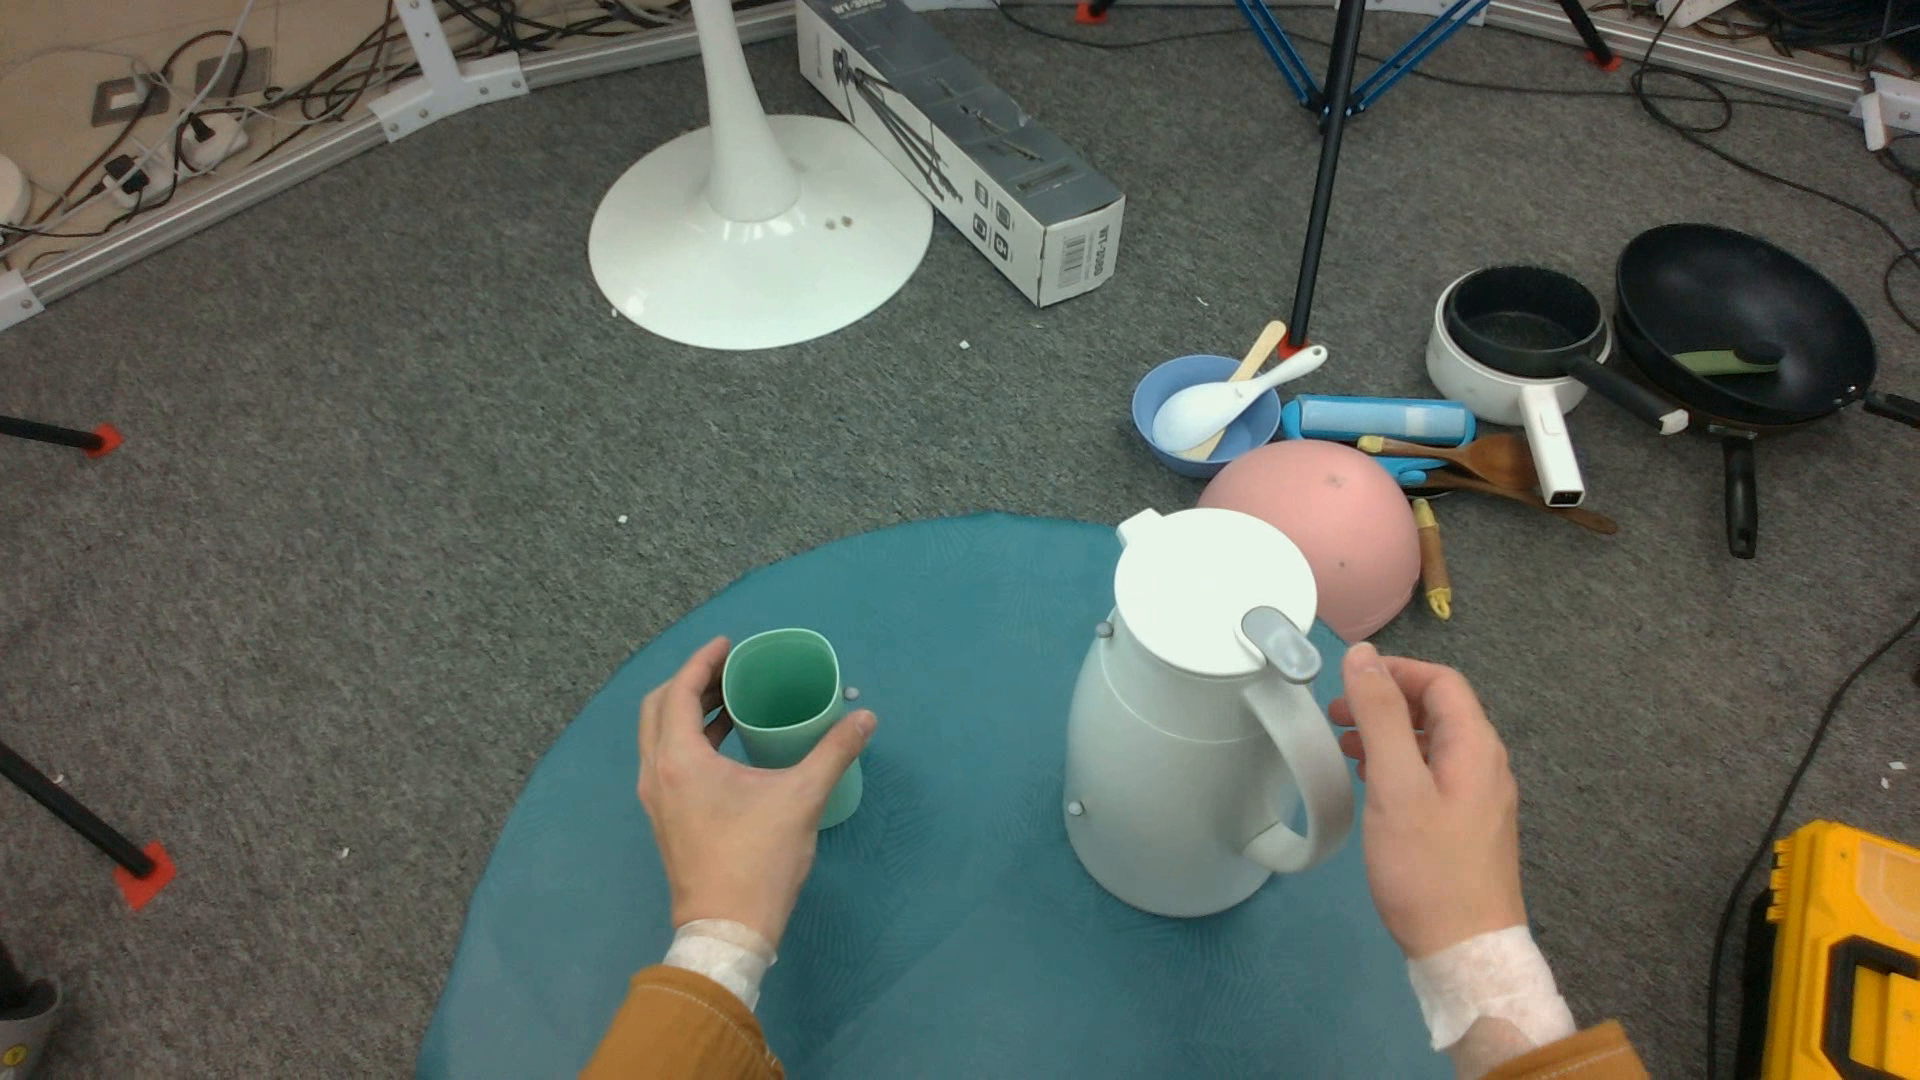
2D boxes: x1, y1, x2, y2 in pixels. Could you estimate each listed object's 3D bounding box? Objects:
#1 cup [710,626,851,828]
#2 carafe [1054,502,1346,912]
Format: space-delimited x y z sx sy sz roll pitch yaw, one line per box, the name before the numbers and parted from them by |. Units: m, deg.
cup | -0.100 0.110 0.786 0.067 0.132 0.067 -1 54 2
carafe | 0.128 0.098 0.710 0.133 0.247 0.168 -29 59 -18
